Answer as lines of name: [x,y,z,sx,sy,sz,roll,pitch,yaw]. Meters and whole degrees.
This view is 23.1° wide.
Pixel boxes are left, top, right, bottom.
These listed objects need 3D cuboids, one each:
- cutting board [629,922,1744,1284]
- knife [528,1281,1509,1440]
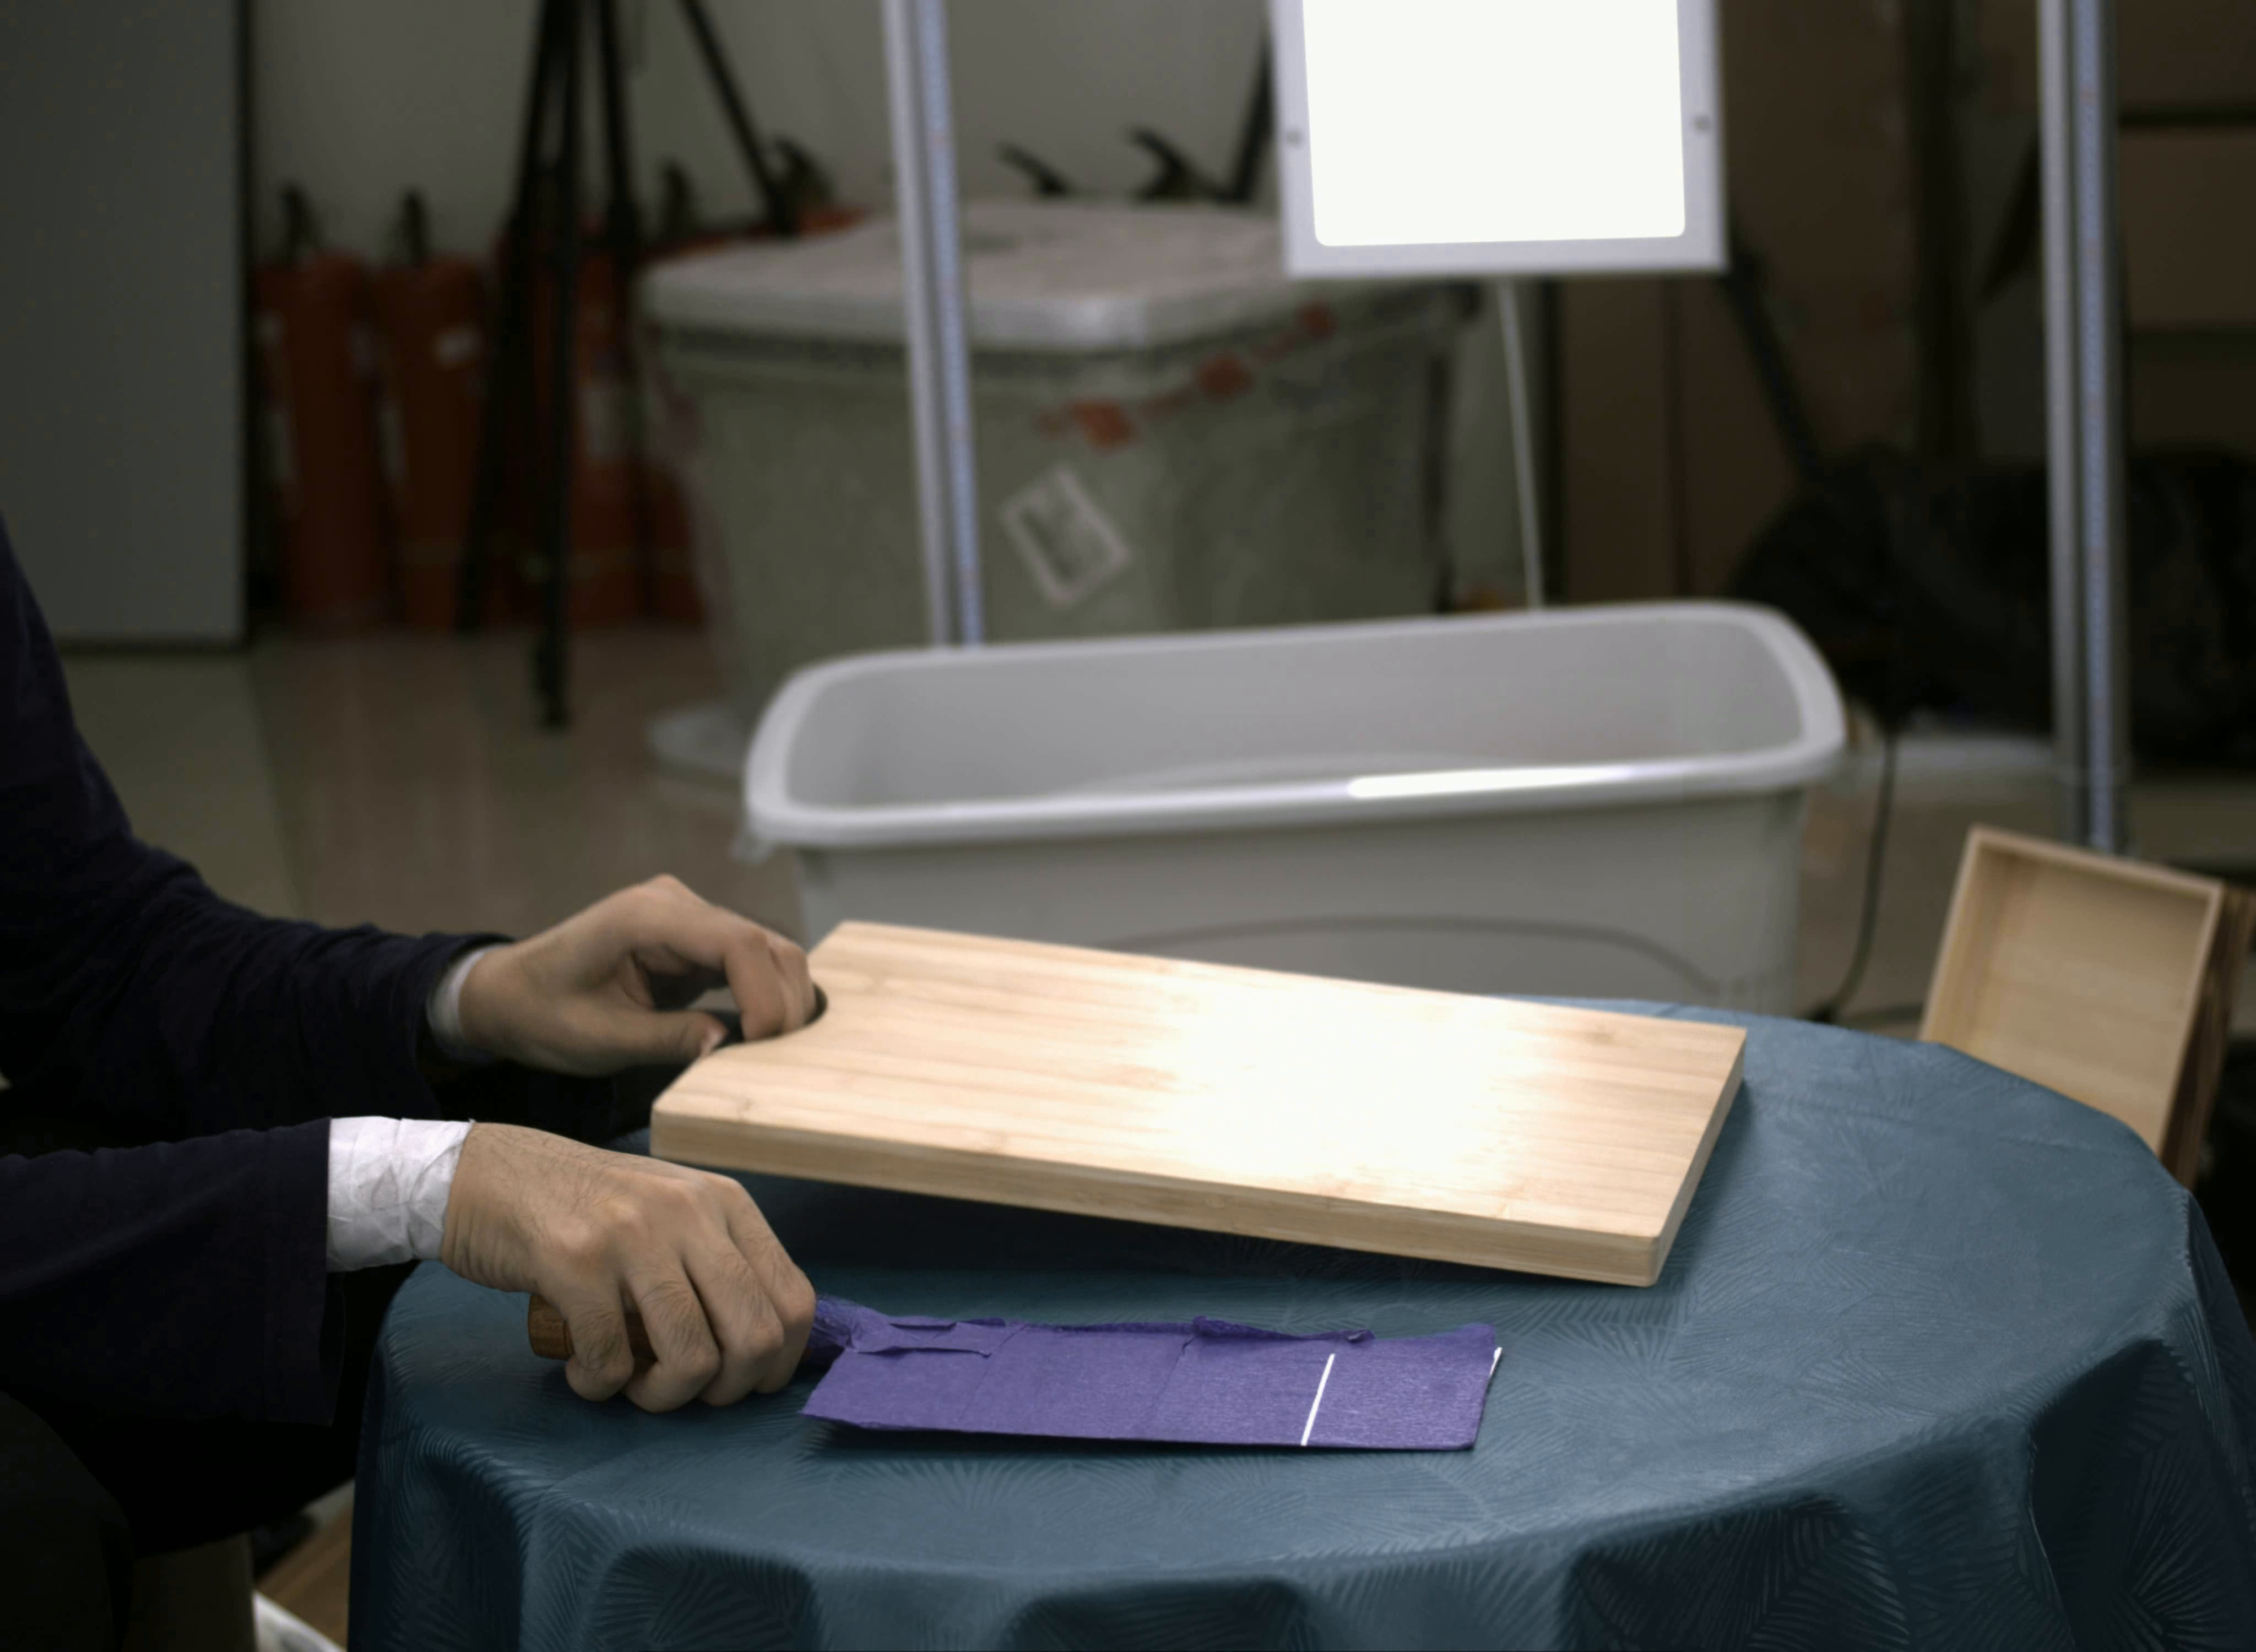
cutting board: [0.027,0.092,1.907,0.351,0.024,0.247,6,16,13]
knife: [-0.041,0.165,1.703,0.318,0.032,0.102,-1,14,13]
